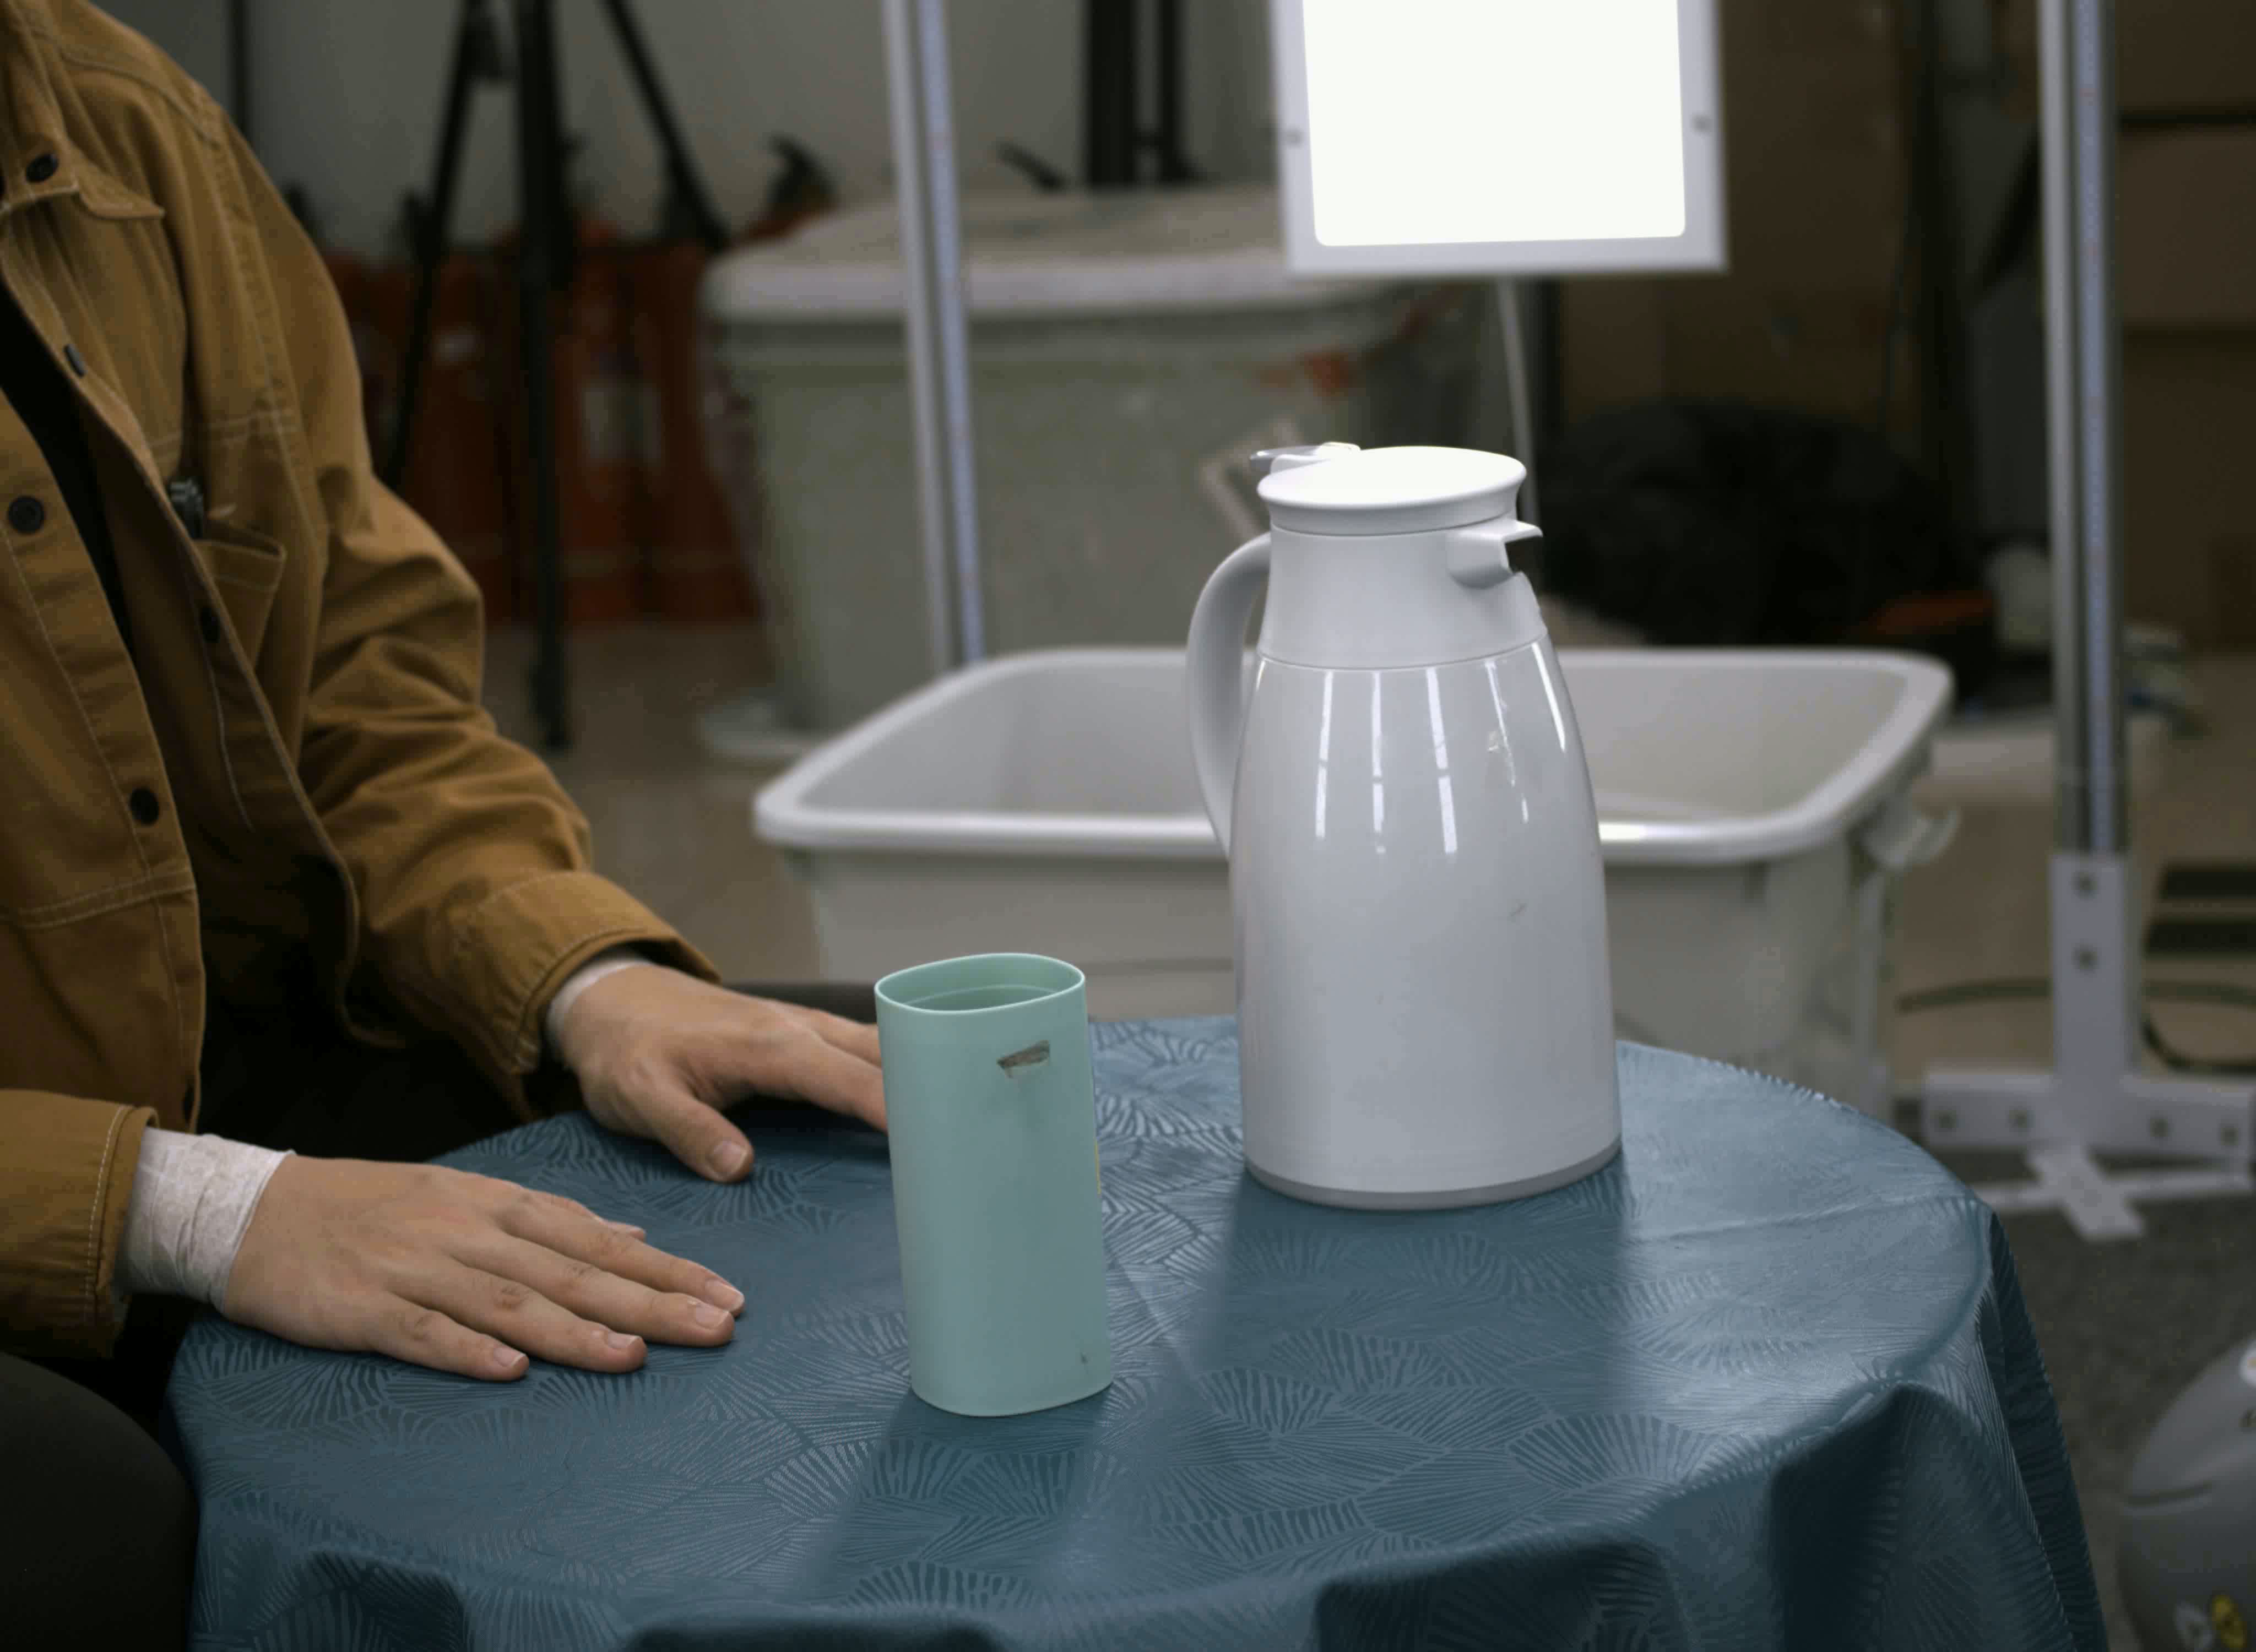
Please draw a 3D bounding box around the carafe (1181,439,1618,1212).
[{"bbox_3d":[0.083,-0.008,1.896,0.129,0.249,0.171,-16,17,-38],"label":"carafe"}]

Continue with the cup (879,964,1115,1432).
[{"bbox_3d":[-0.041,0.114,1.705,0.066,0.133,0.066,-5,13,0],"label":"cup"}]
